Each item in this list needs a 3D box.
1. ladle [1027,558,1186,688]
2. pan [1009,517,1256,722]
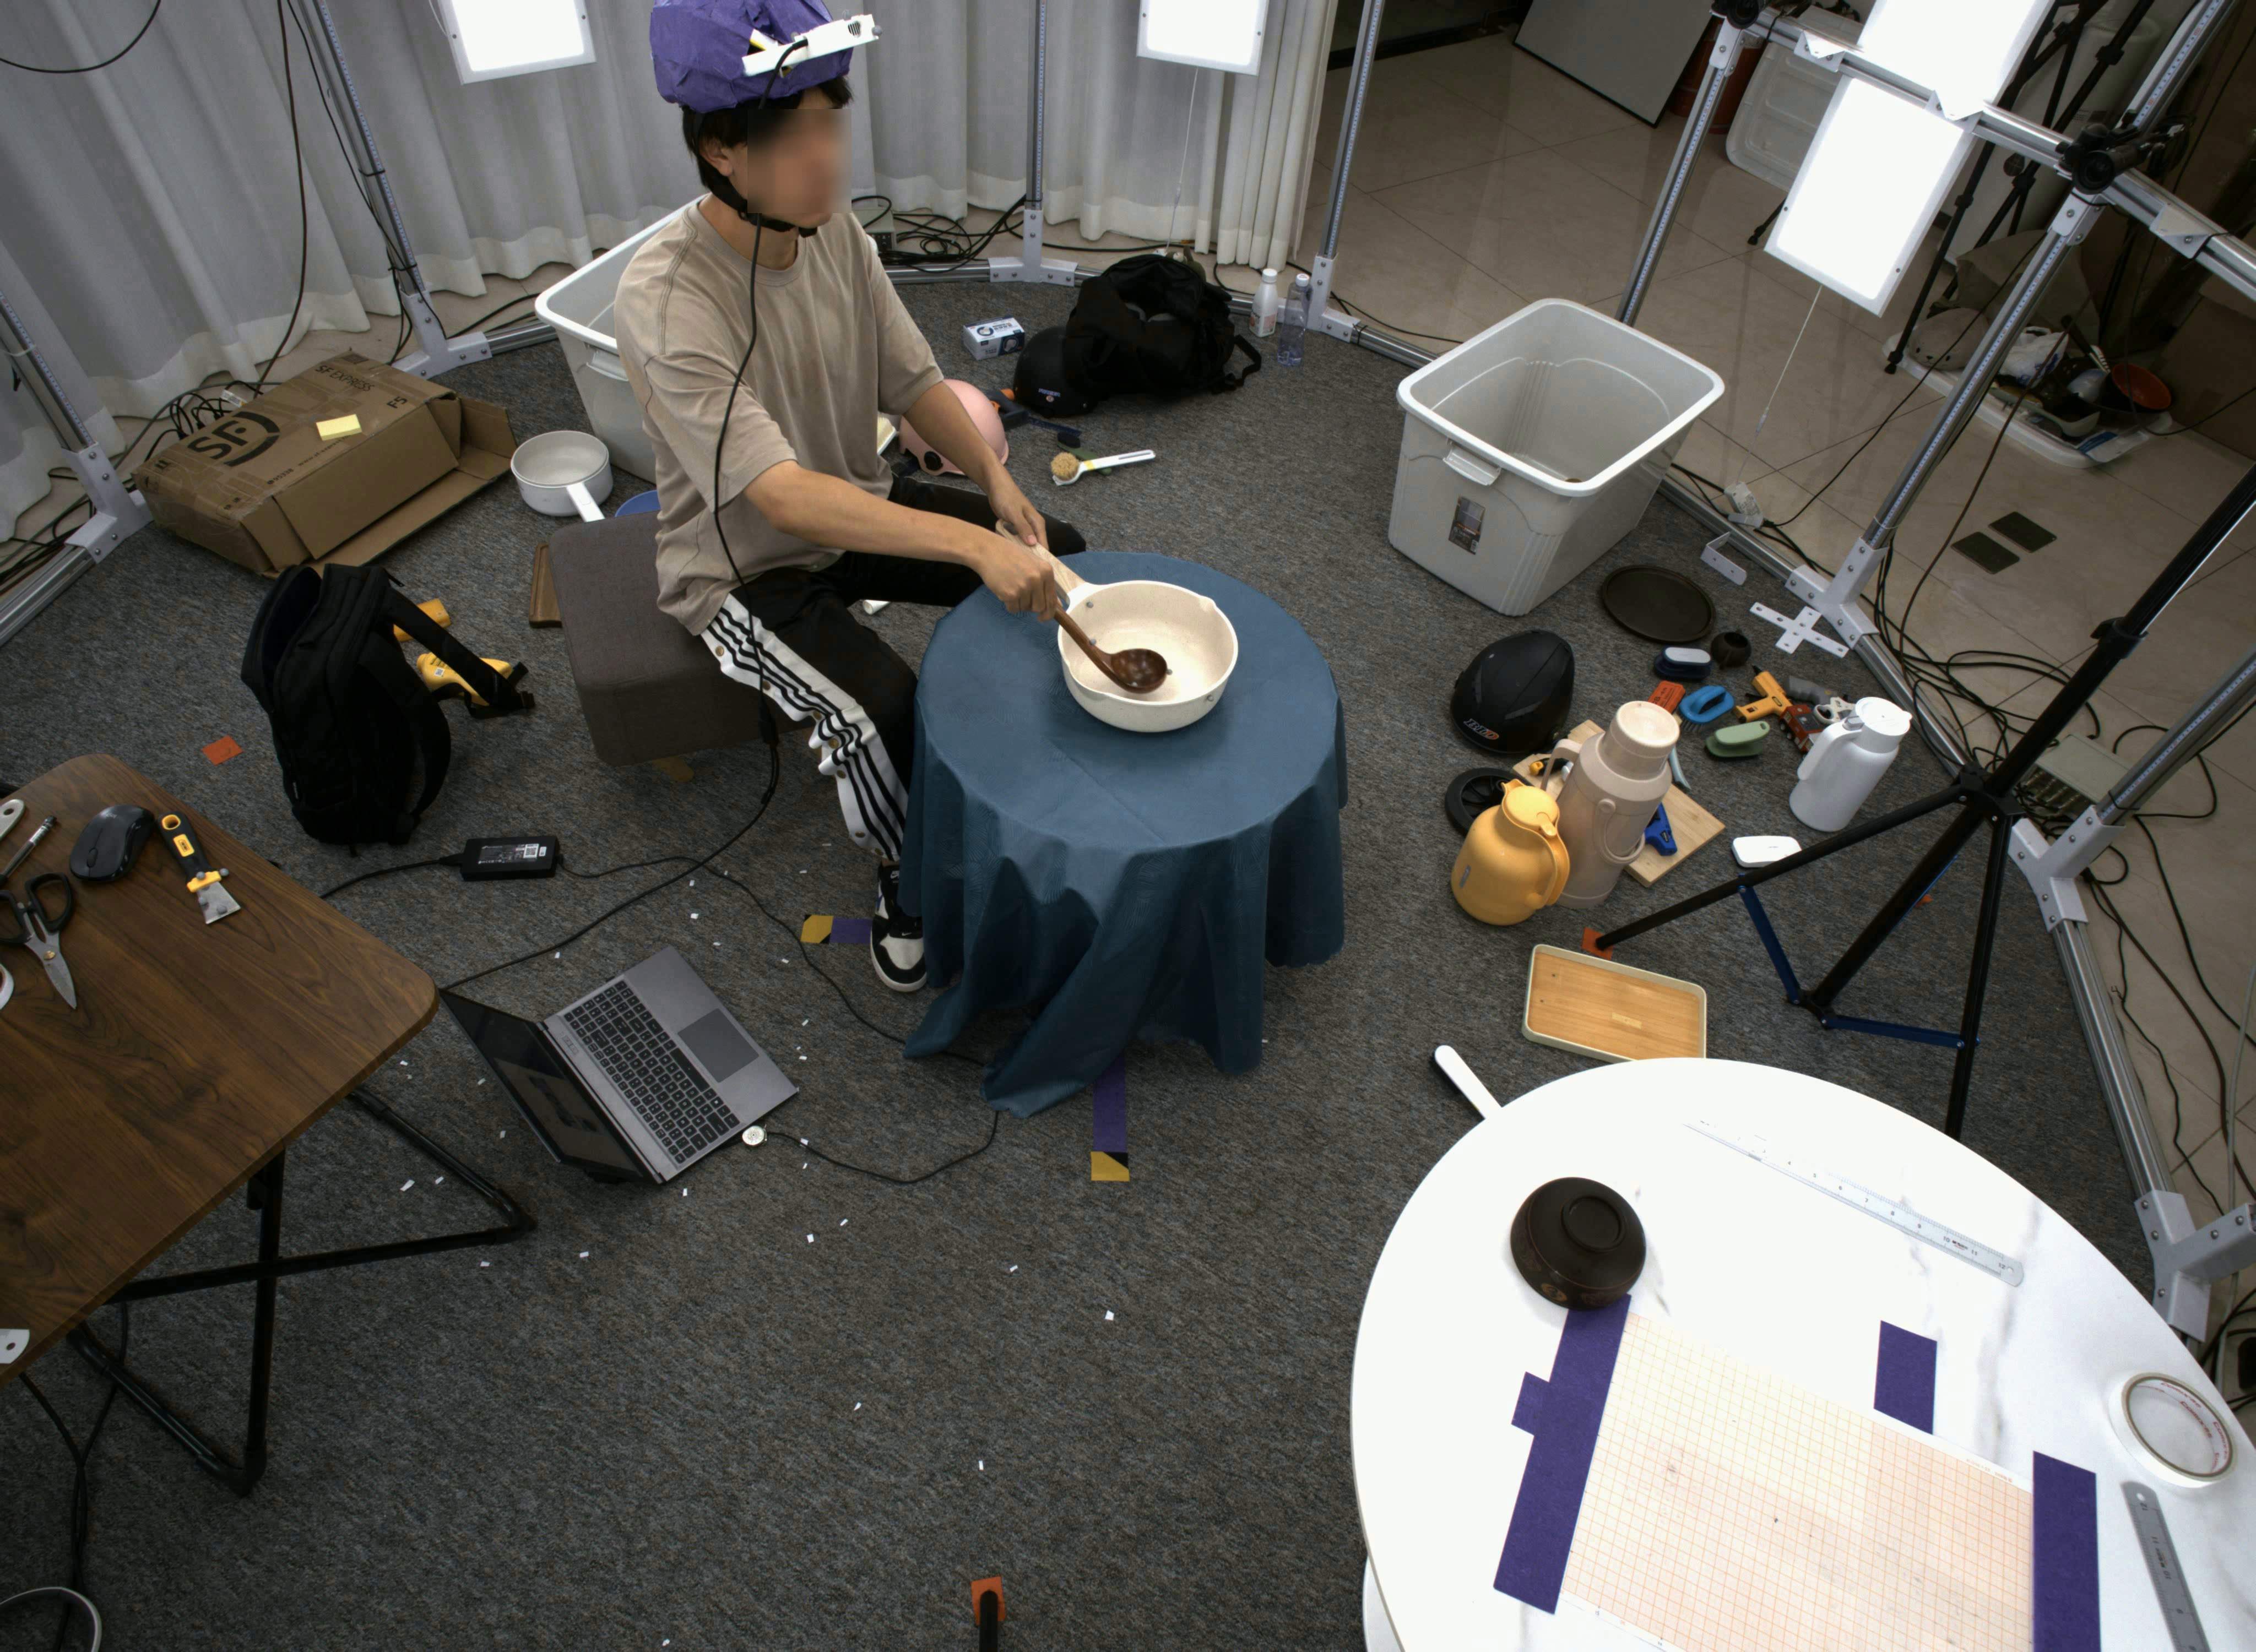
[{"bbox_3d":[-0.021,-0.277,1.710,0.076,0.268,0.084,-32,41,18],"label":"ladle"},{"bbox_3d":[-0.015,-0.304,1.853,0.441,0.099,0.266,38,57,26],"label":"pan"}]
